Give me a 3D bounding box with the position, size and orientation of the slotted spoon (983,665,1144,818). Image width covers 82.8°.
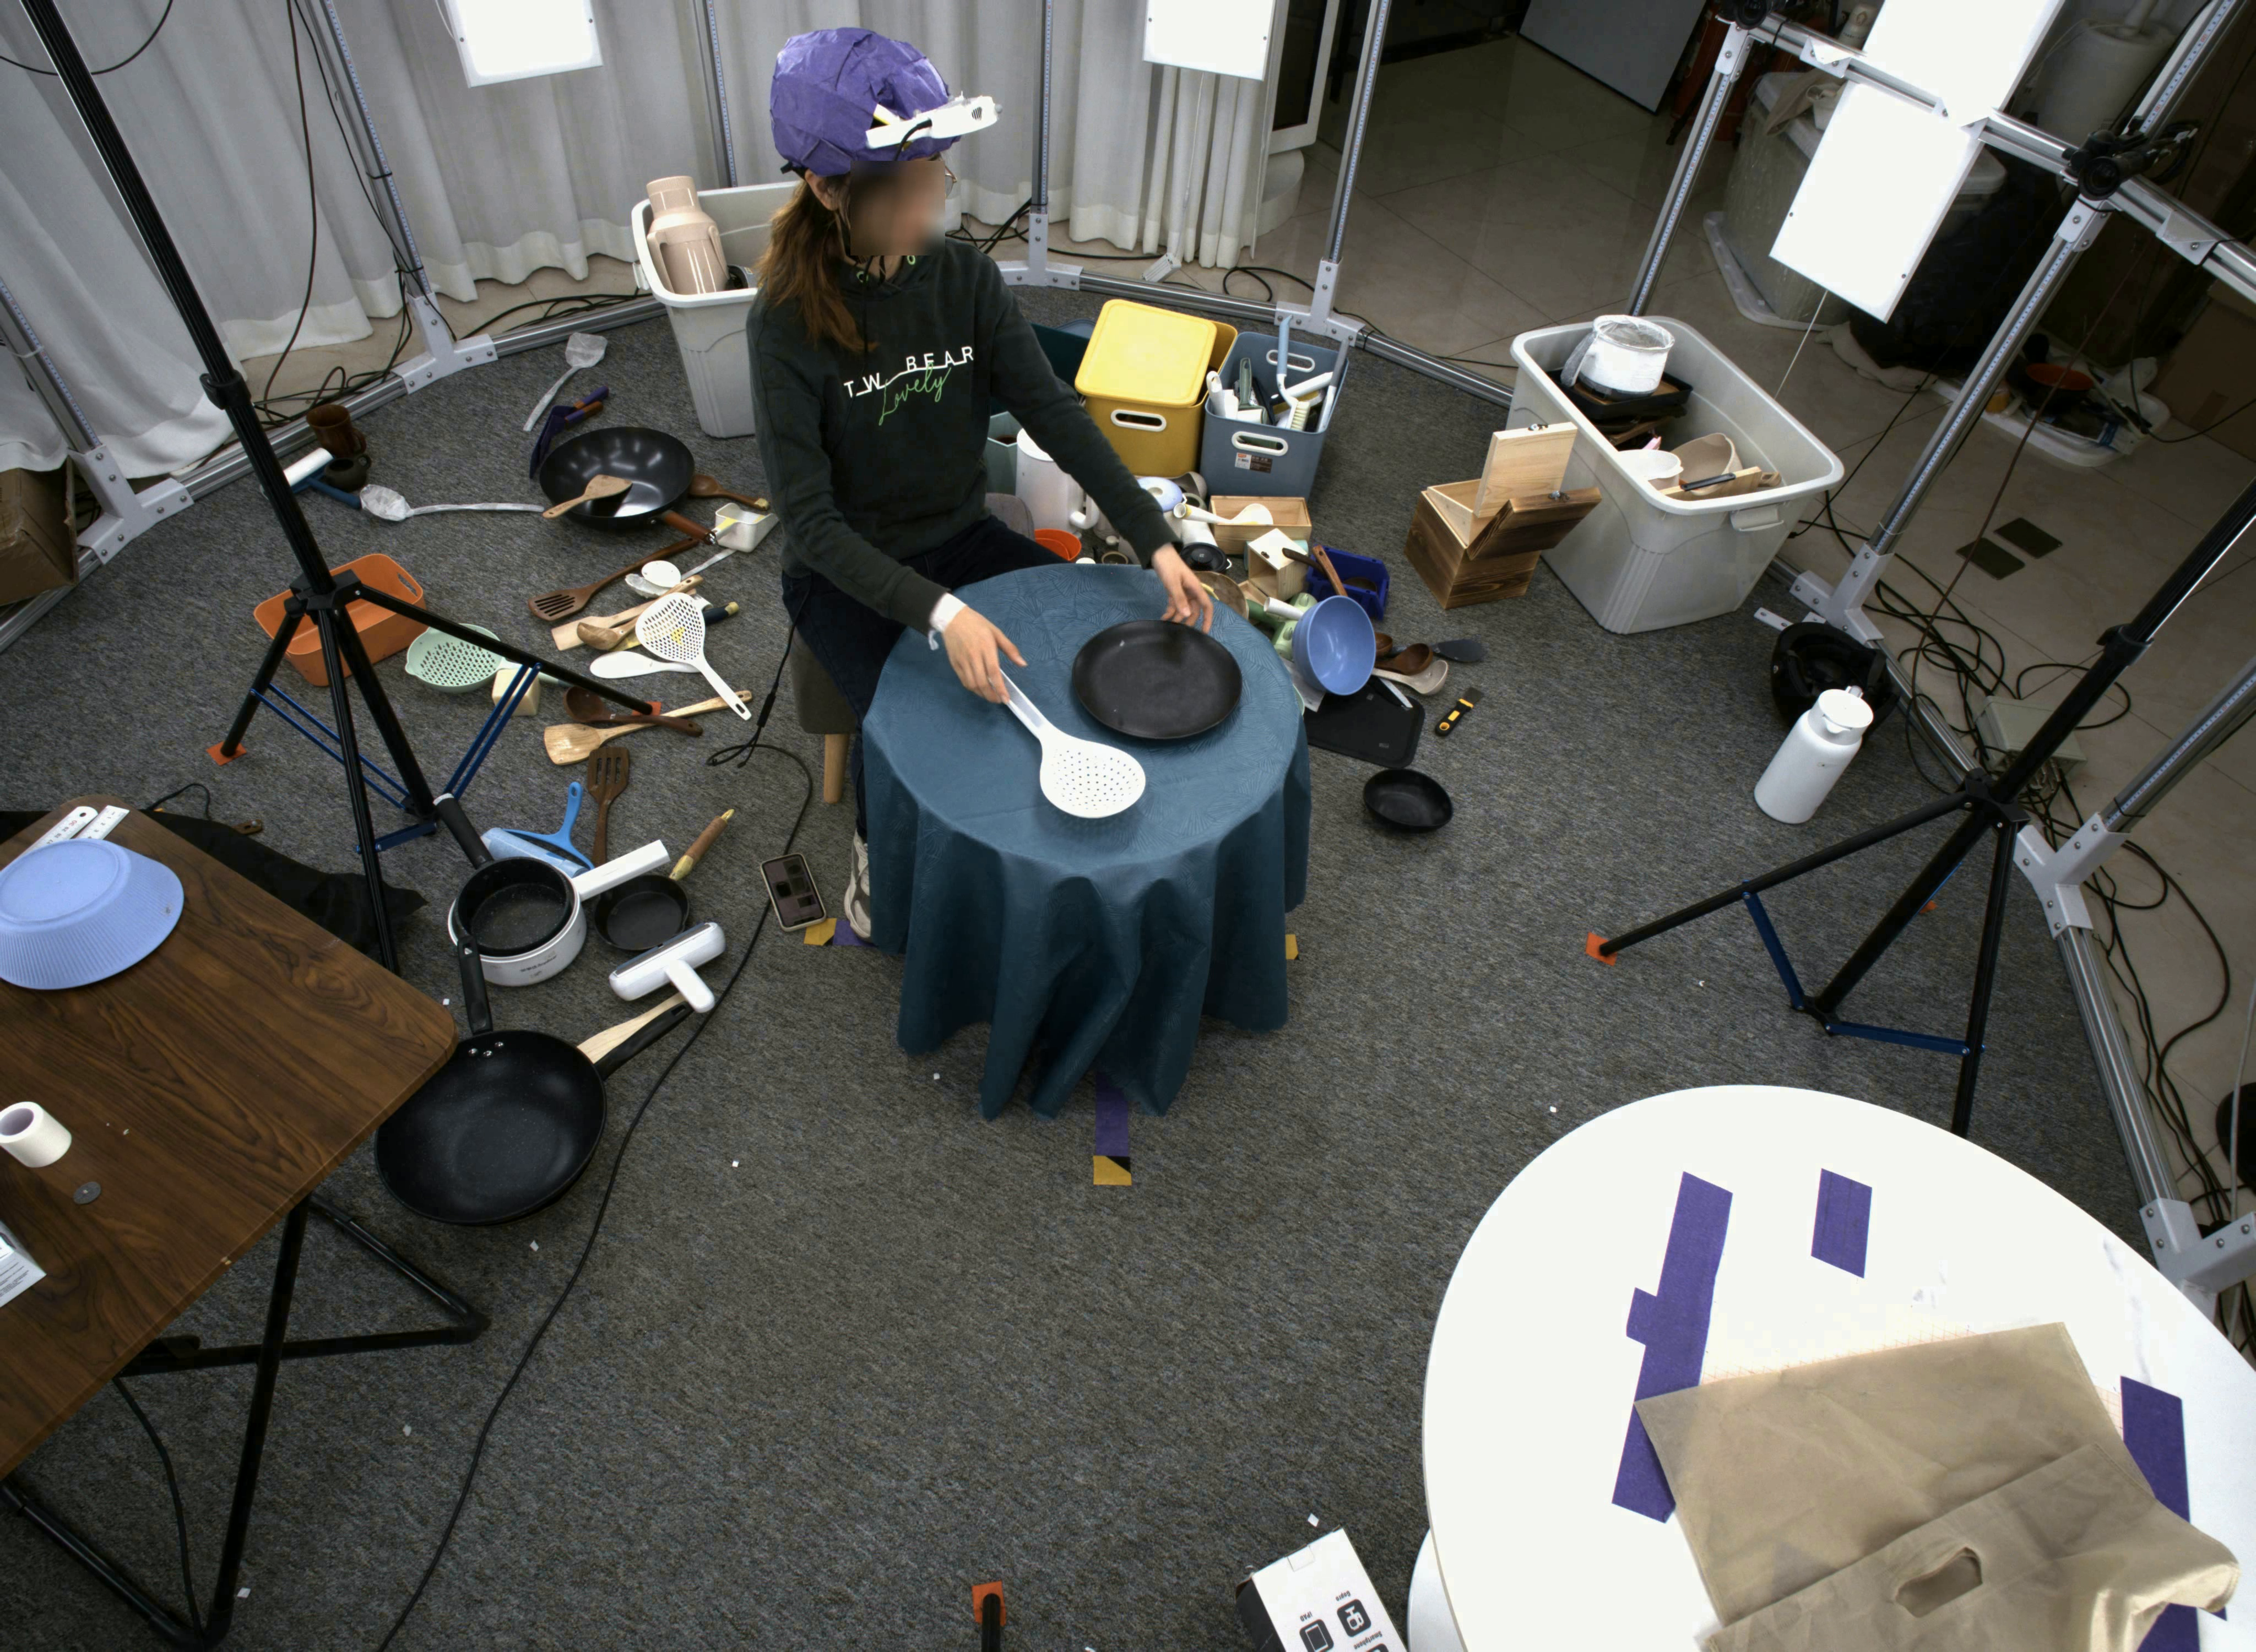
[{"bbox_3d":[-0.105,-0.120,1.752,0.136,0.044,0.357,-22,53,-24],"label":"slotted spoon"}]

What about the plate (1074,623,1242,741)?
[{"bbox_3d":[0.043,-0.205,1.851,0.244,0.023,0.250,2,49,-2],"label":"plate"}]
